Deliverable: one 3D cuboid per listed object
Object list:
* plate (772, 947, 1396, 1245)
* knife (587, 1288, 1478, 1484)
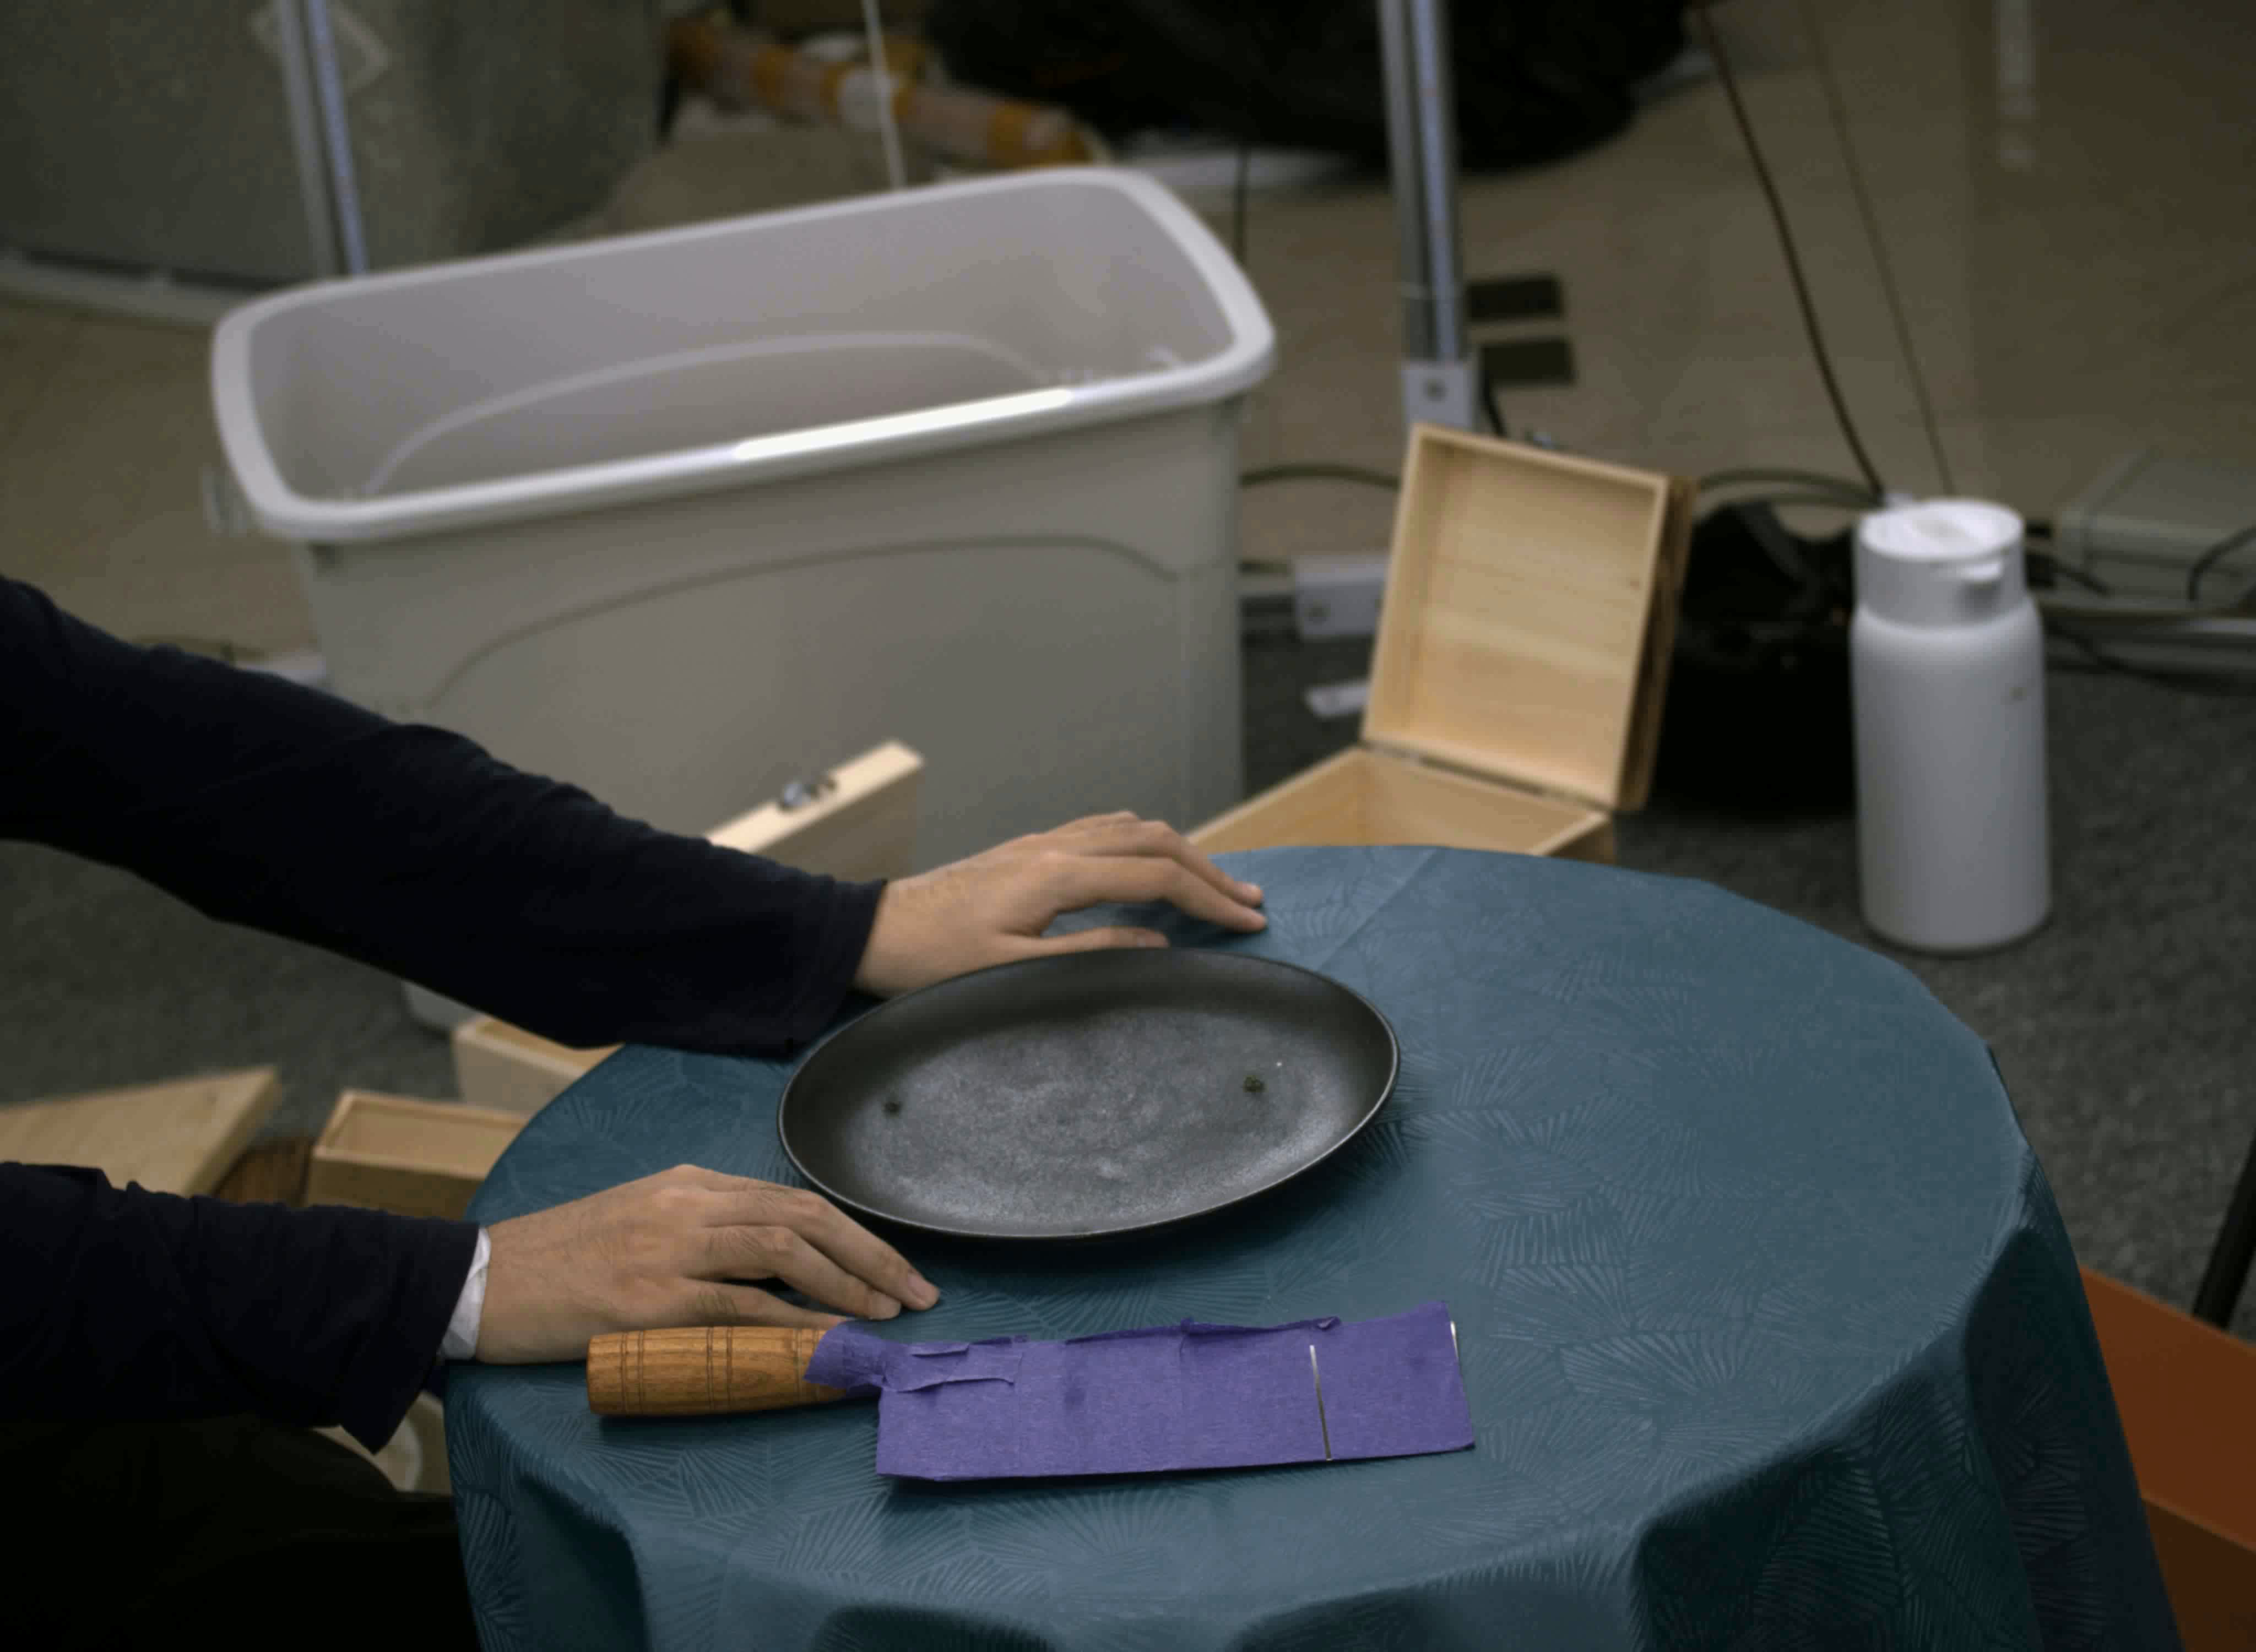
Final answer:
[{"bbox_3d":[-0.016,0.109,2.193,0.244,0.024,0.241,-5,25,3],"label":"plate"},{"bbox_3d":[-0.036,0.199,1.998,0.315,0.033,0.102,-6,25,1],"label":"knife"}]
